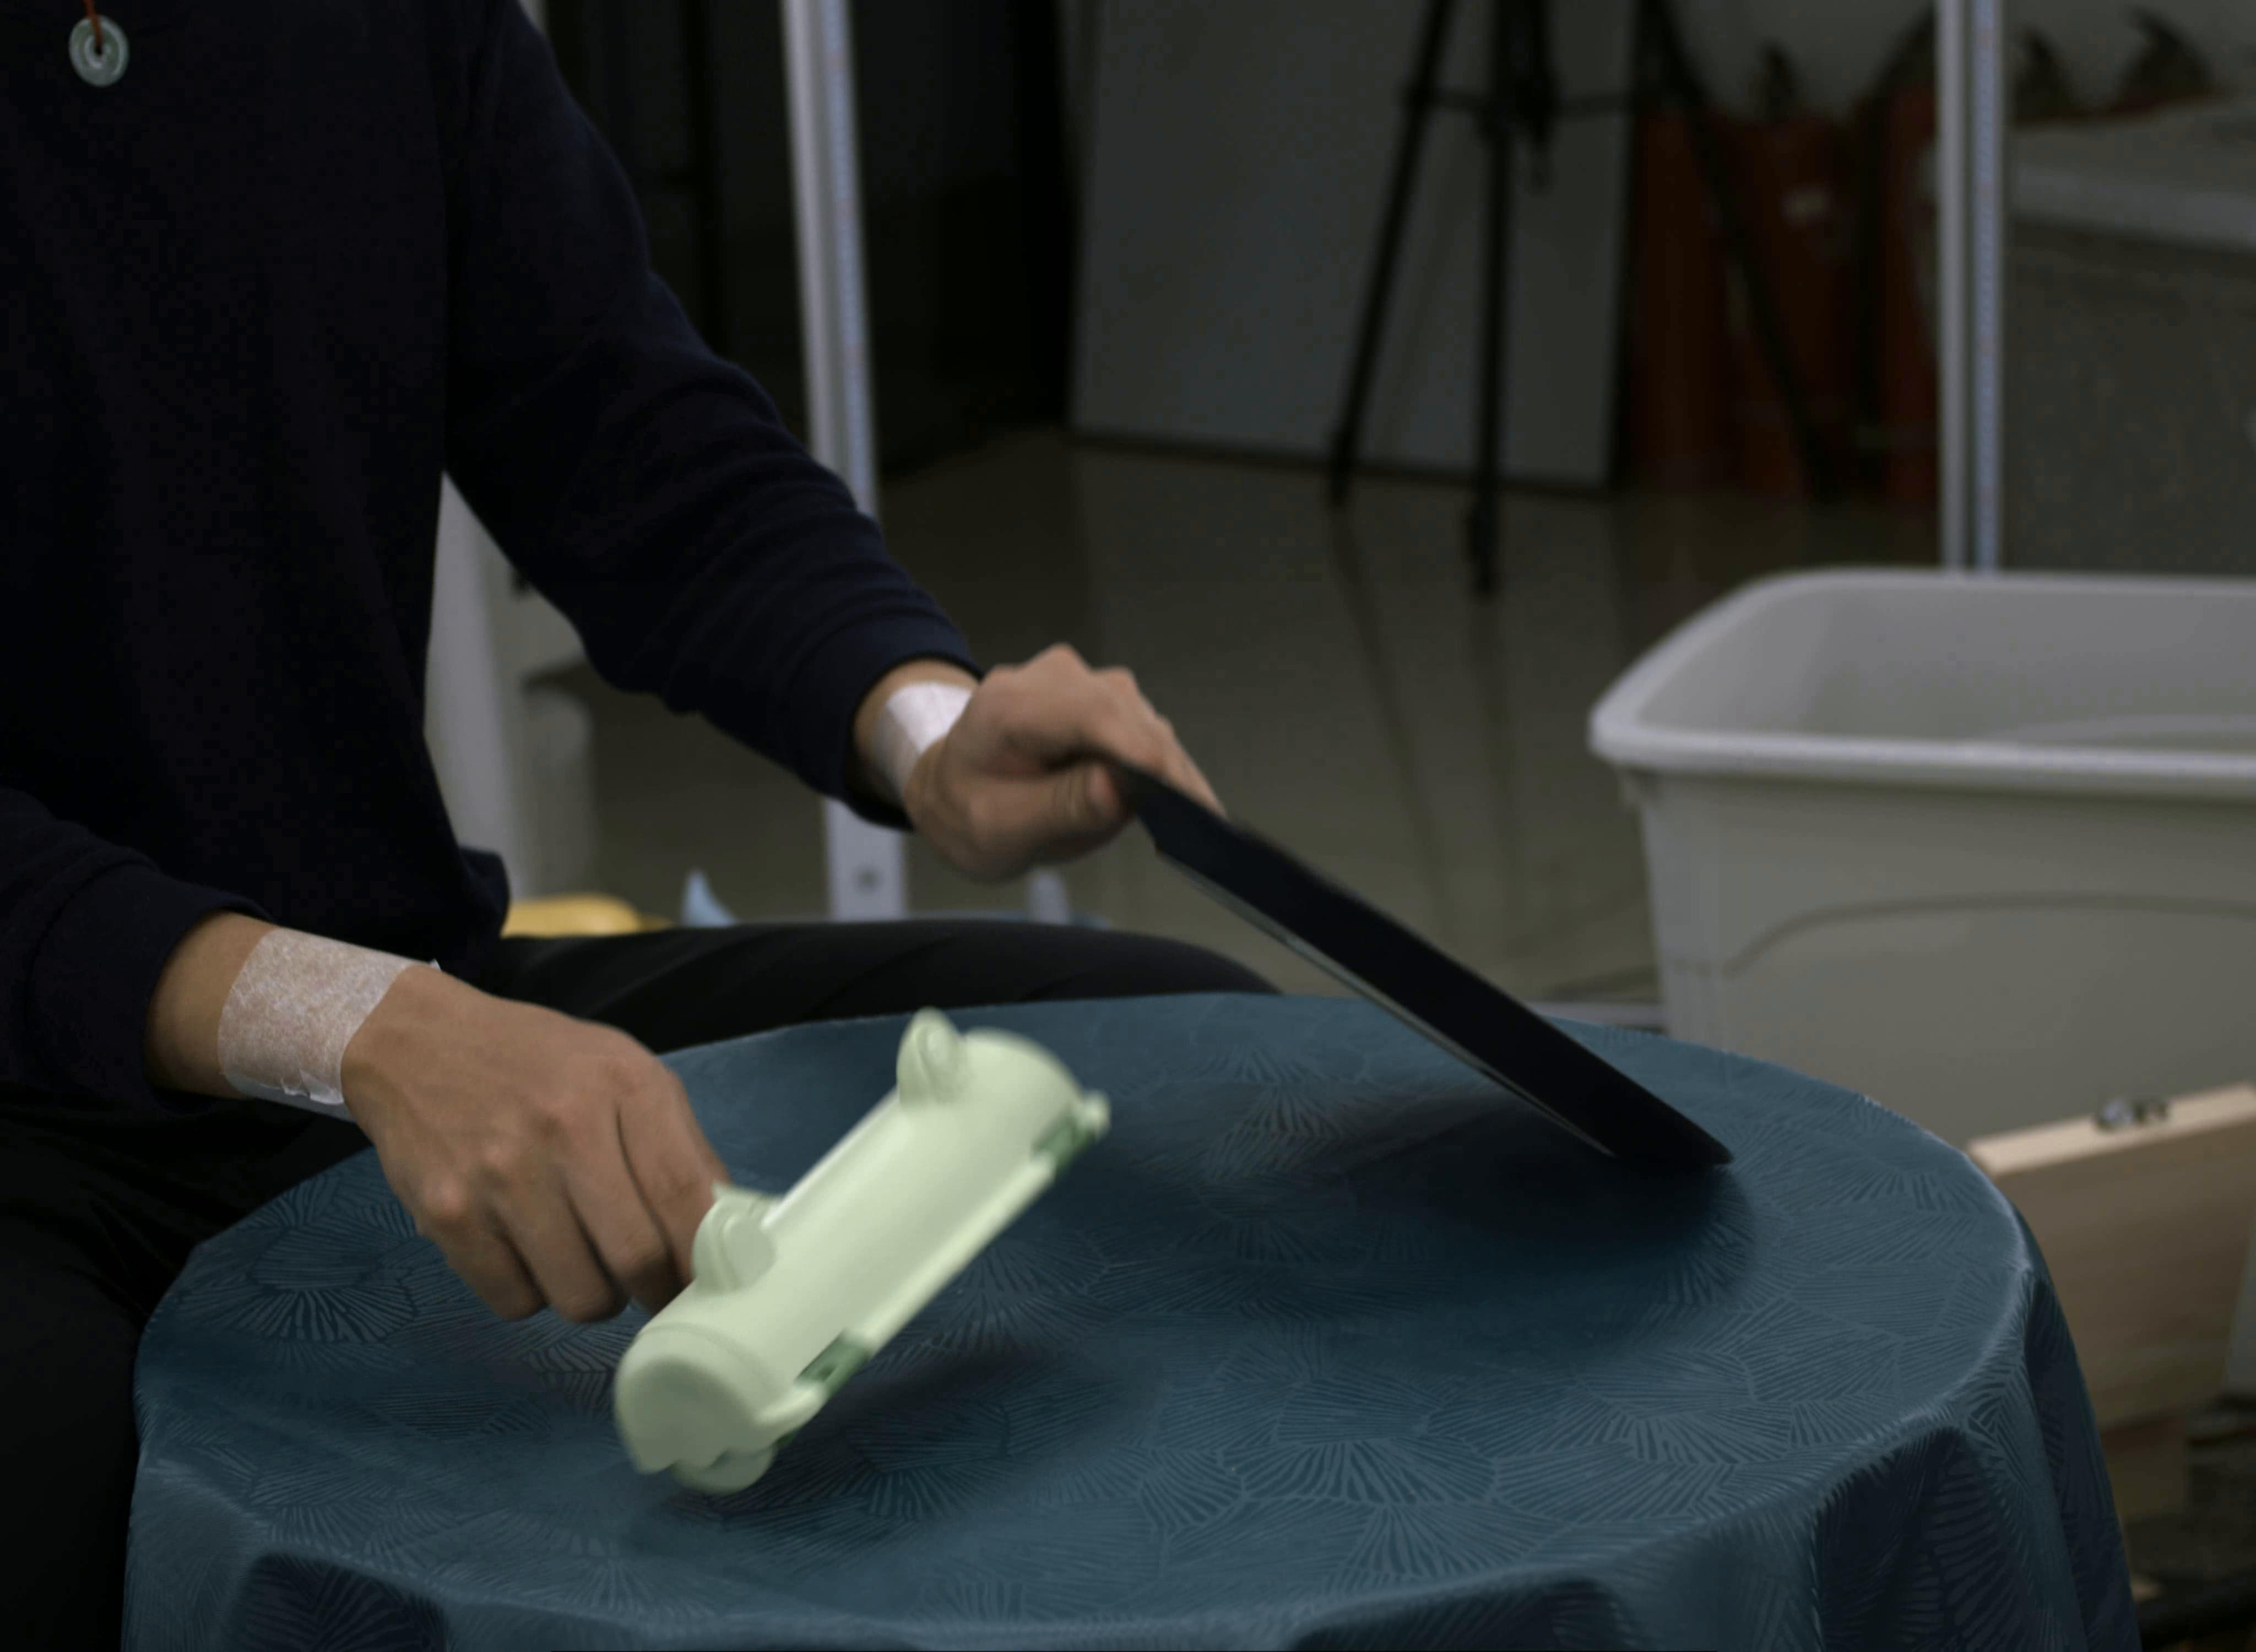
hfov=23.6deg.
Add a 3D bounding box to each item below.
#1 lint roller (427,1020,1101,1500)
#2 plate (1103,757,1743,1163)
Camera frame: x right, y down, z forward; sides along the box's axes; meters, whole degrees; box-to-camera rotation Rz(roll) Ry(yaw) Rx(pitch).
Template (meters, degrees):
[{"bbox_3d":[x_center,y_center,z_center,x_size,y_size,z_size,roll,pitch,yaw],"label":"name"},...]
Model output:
[{"bbox_3d":[-0.128,0.104,1.587,0.184,0.083,0.196,18,32,23],"label":"lint roller"},{"bbox_3d":[0.090,0.051,1.738,0.243,0.023,0.244,32,-1,-1],"label":"plate"}]
